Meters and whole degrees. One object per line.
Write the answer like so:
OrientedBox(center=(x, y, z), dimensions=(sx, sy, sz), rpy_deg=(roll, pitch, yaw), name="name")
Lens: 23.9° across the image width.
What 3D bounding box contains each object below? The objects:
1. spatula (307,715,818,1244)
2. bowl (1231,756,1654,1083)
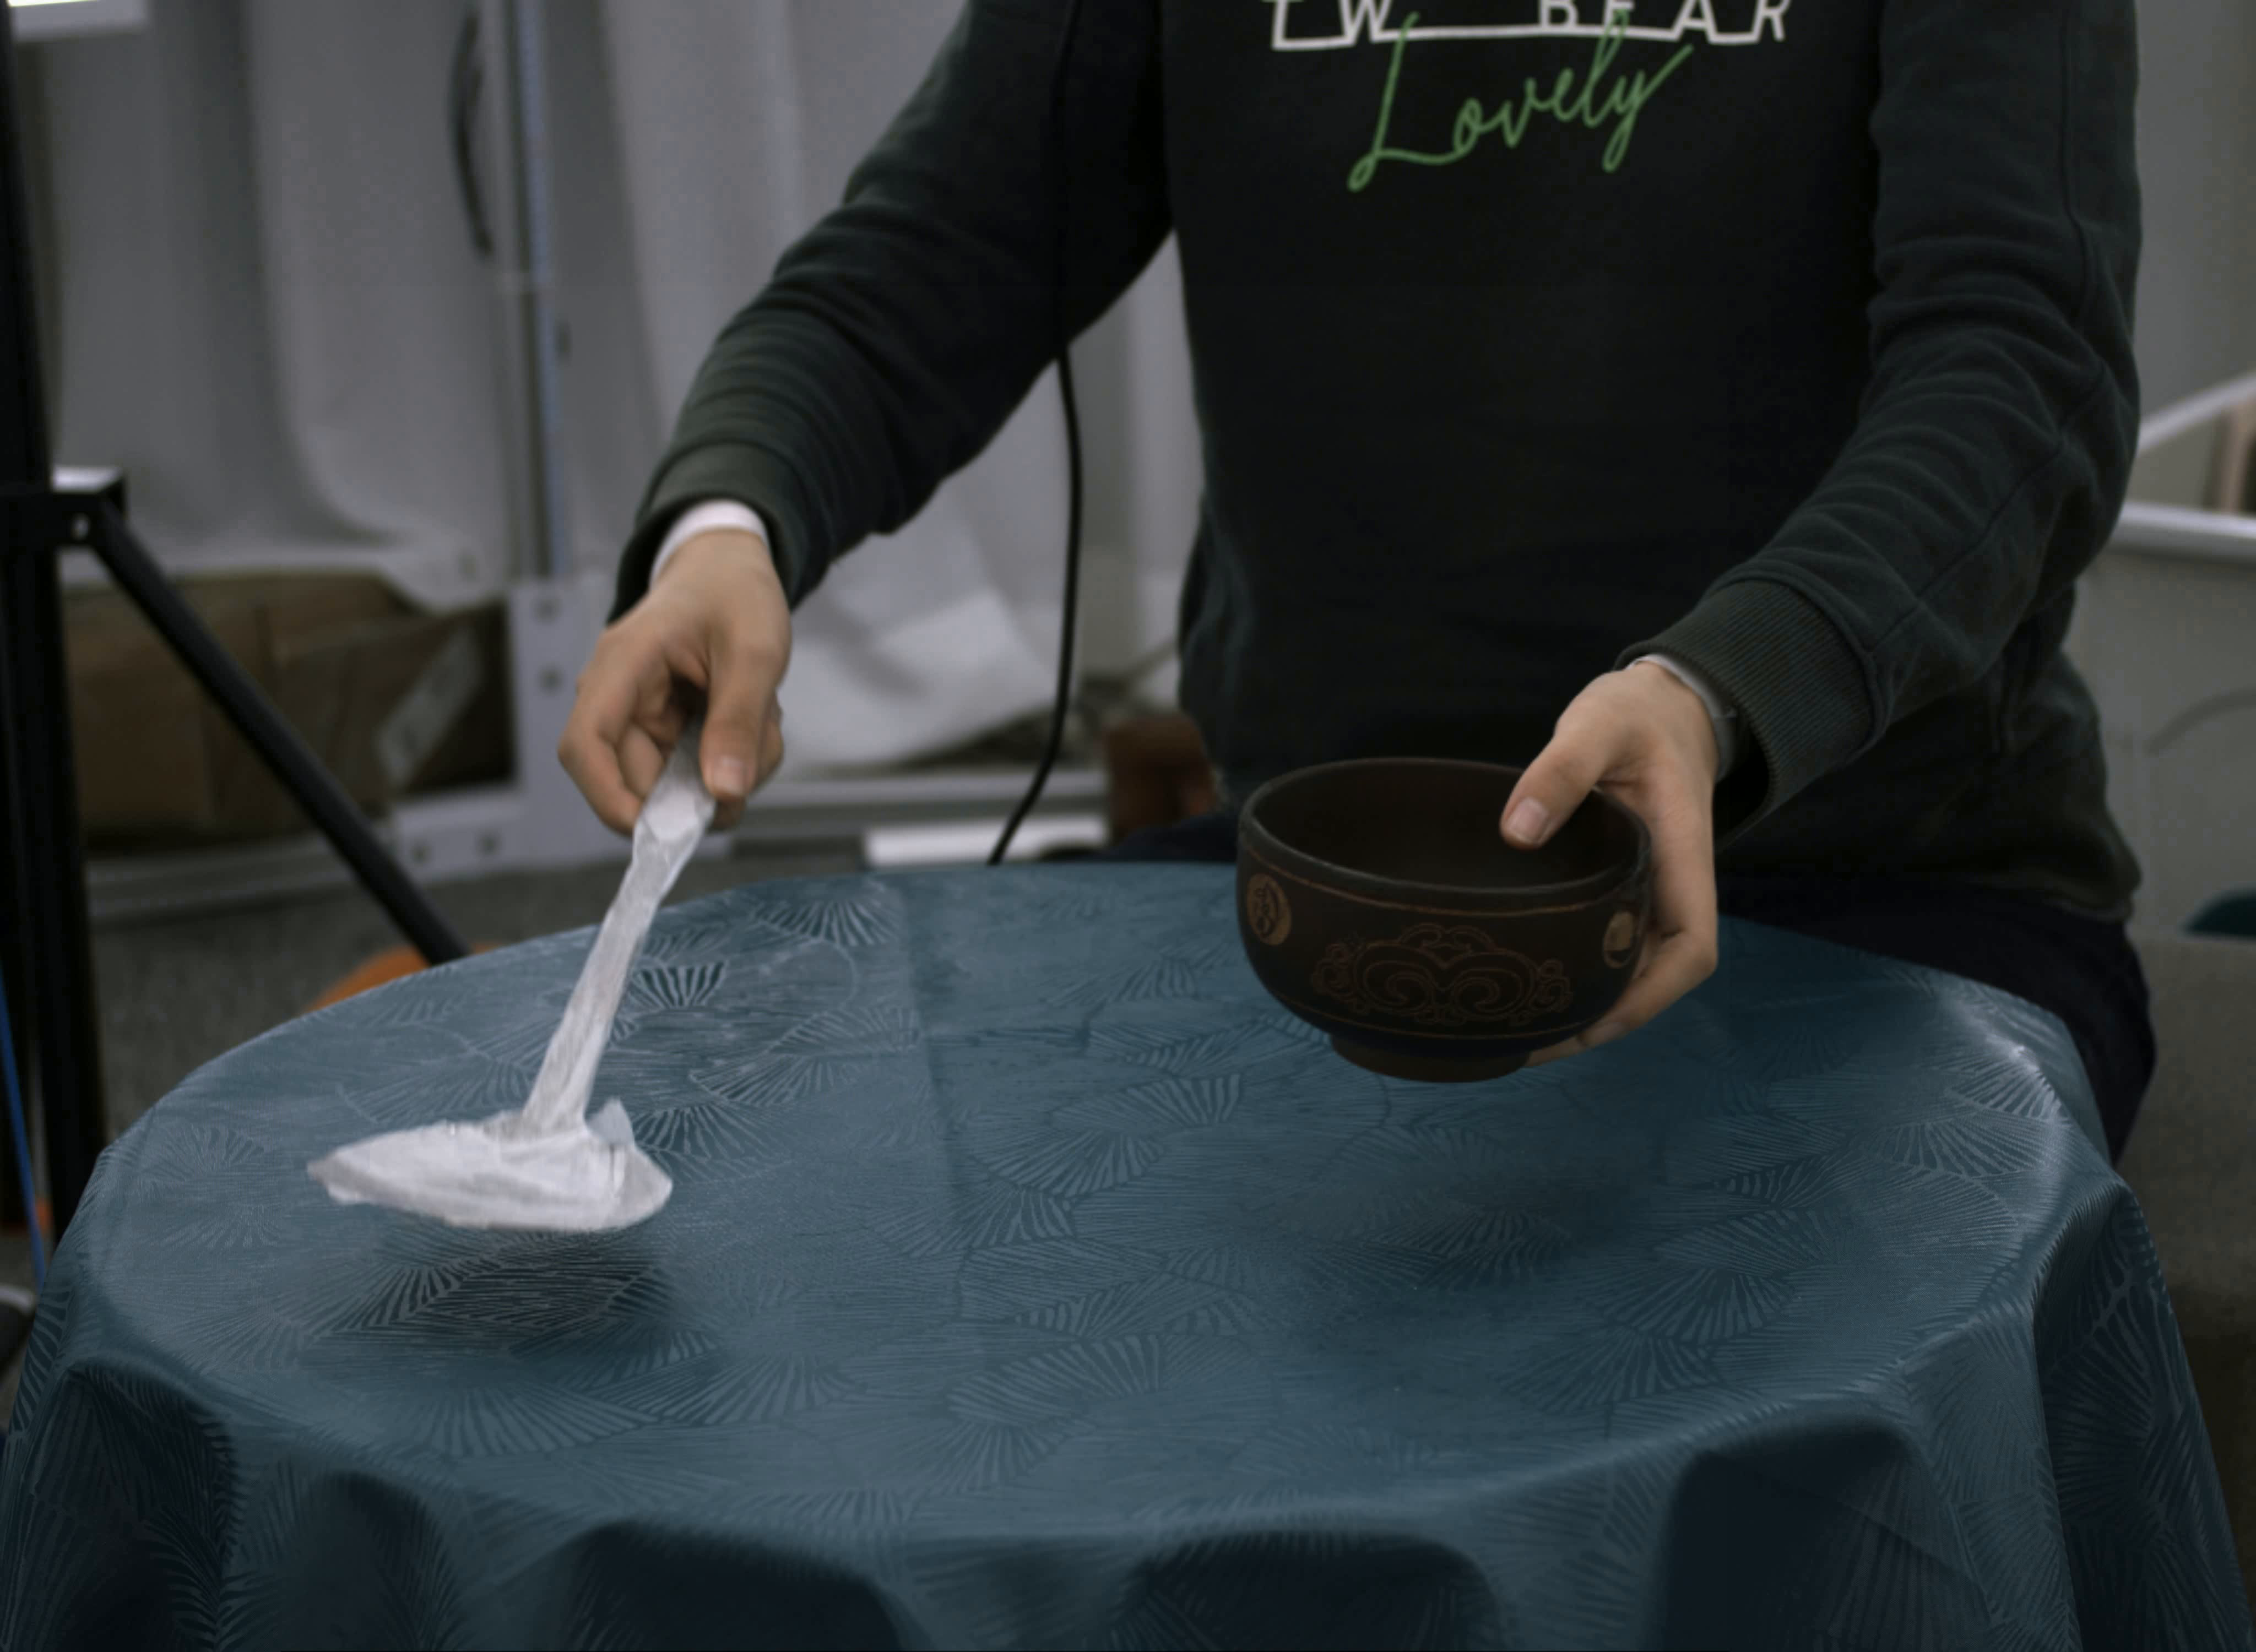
OrientedBox(center=(-0.148, 0.036, 1.607), dimensions=(0.099, 0.044, 0.365), rpy_deg=(6, 32, 10), name="spatula")
OrientedBox(center=(0.086, 0.030, 1.490), dimensions=(0.117, 0.070, 0.119), rpy_deg=(5, 17, -3), name="bowl")
